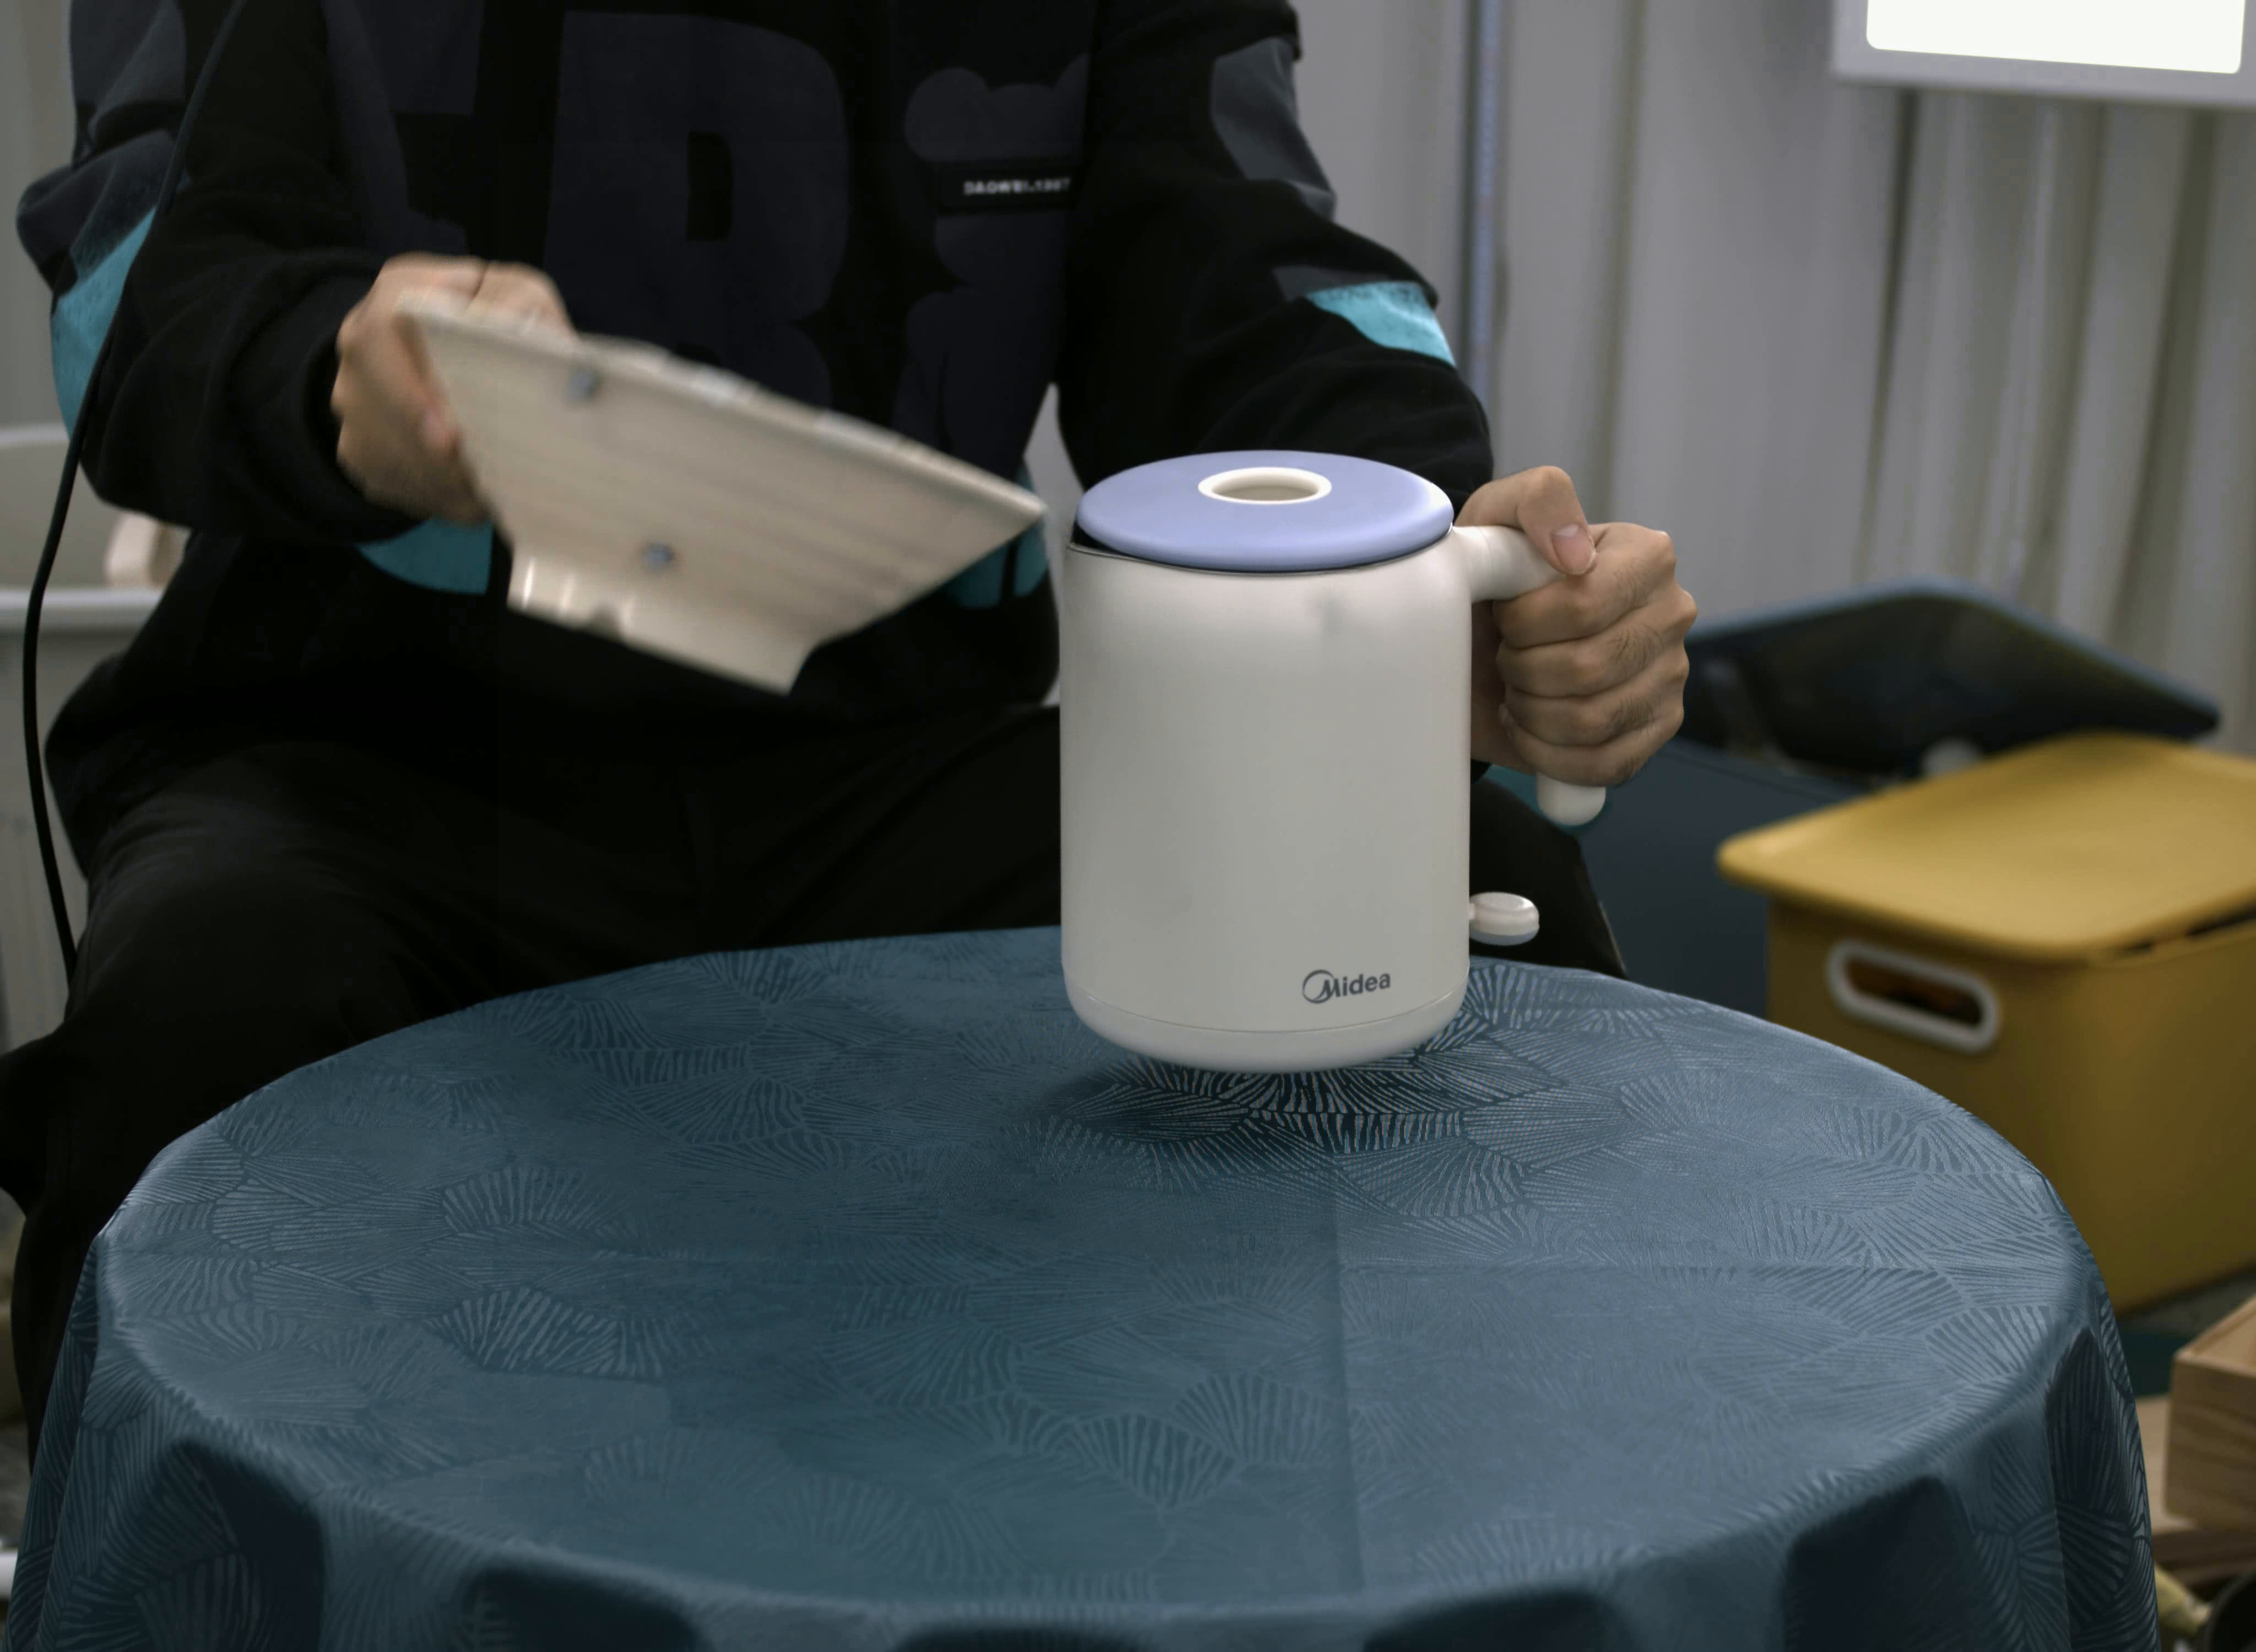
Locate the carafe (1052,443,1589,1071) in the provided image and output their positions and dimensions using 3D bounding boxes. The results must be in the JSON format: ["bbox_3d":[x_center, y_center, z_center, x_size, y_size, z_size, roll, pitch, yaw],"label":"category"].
[{"bbox_3d":[0.064,-0.025,1.682,0.192,0.184,0.130,-6,21,-24],"label":"carafe"}]

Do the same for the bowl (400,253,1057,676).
[{"bbox_3d":[-0.128,-0.094,1.539,0.203,0.078,0.204,18,-5,2],"label":"bowl"}]
